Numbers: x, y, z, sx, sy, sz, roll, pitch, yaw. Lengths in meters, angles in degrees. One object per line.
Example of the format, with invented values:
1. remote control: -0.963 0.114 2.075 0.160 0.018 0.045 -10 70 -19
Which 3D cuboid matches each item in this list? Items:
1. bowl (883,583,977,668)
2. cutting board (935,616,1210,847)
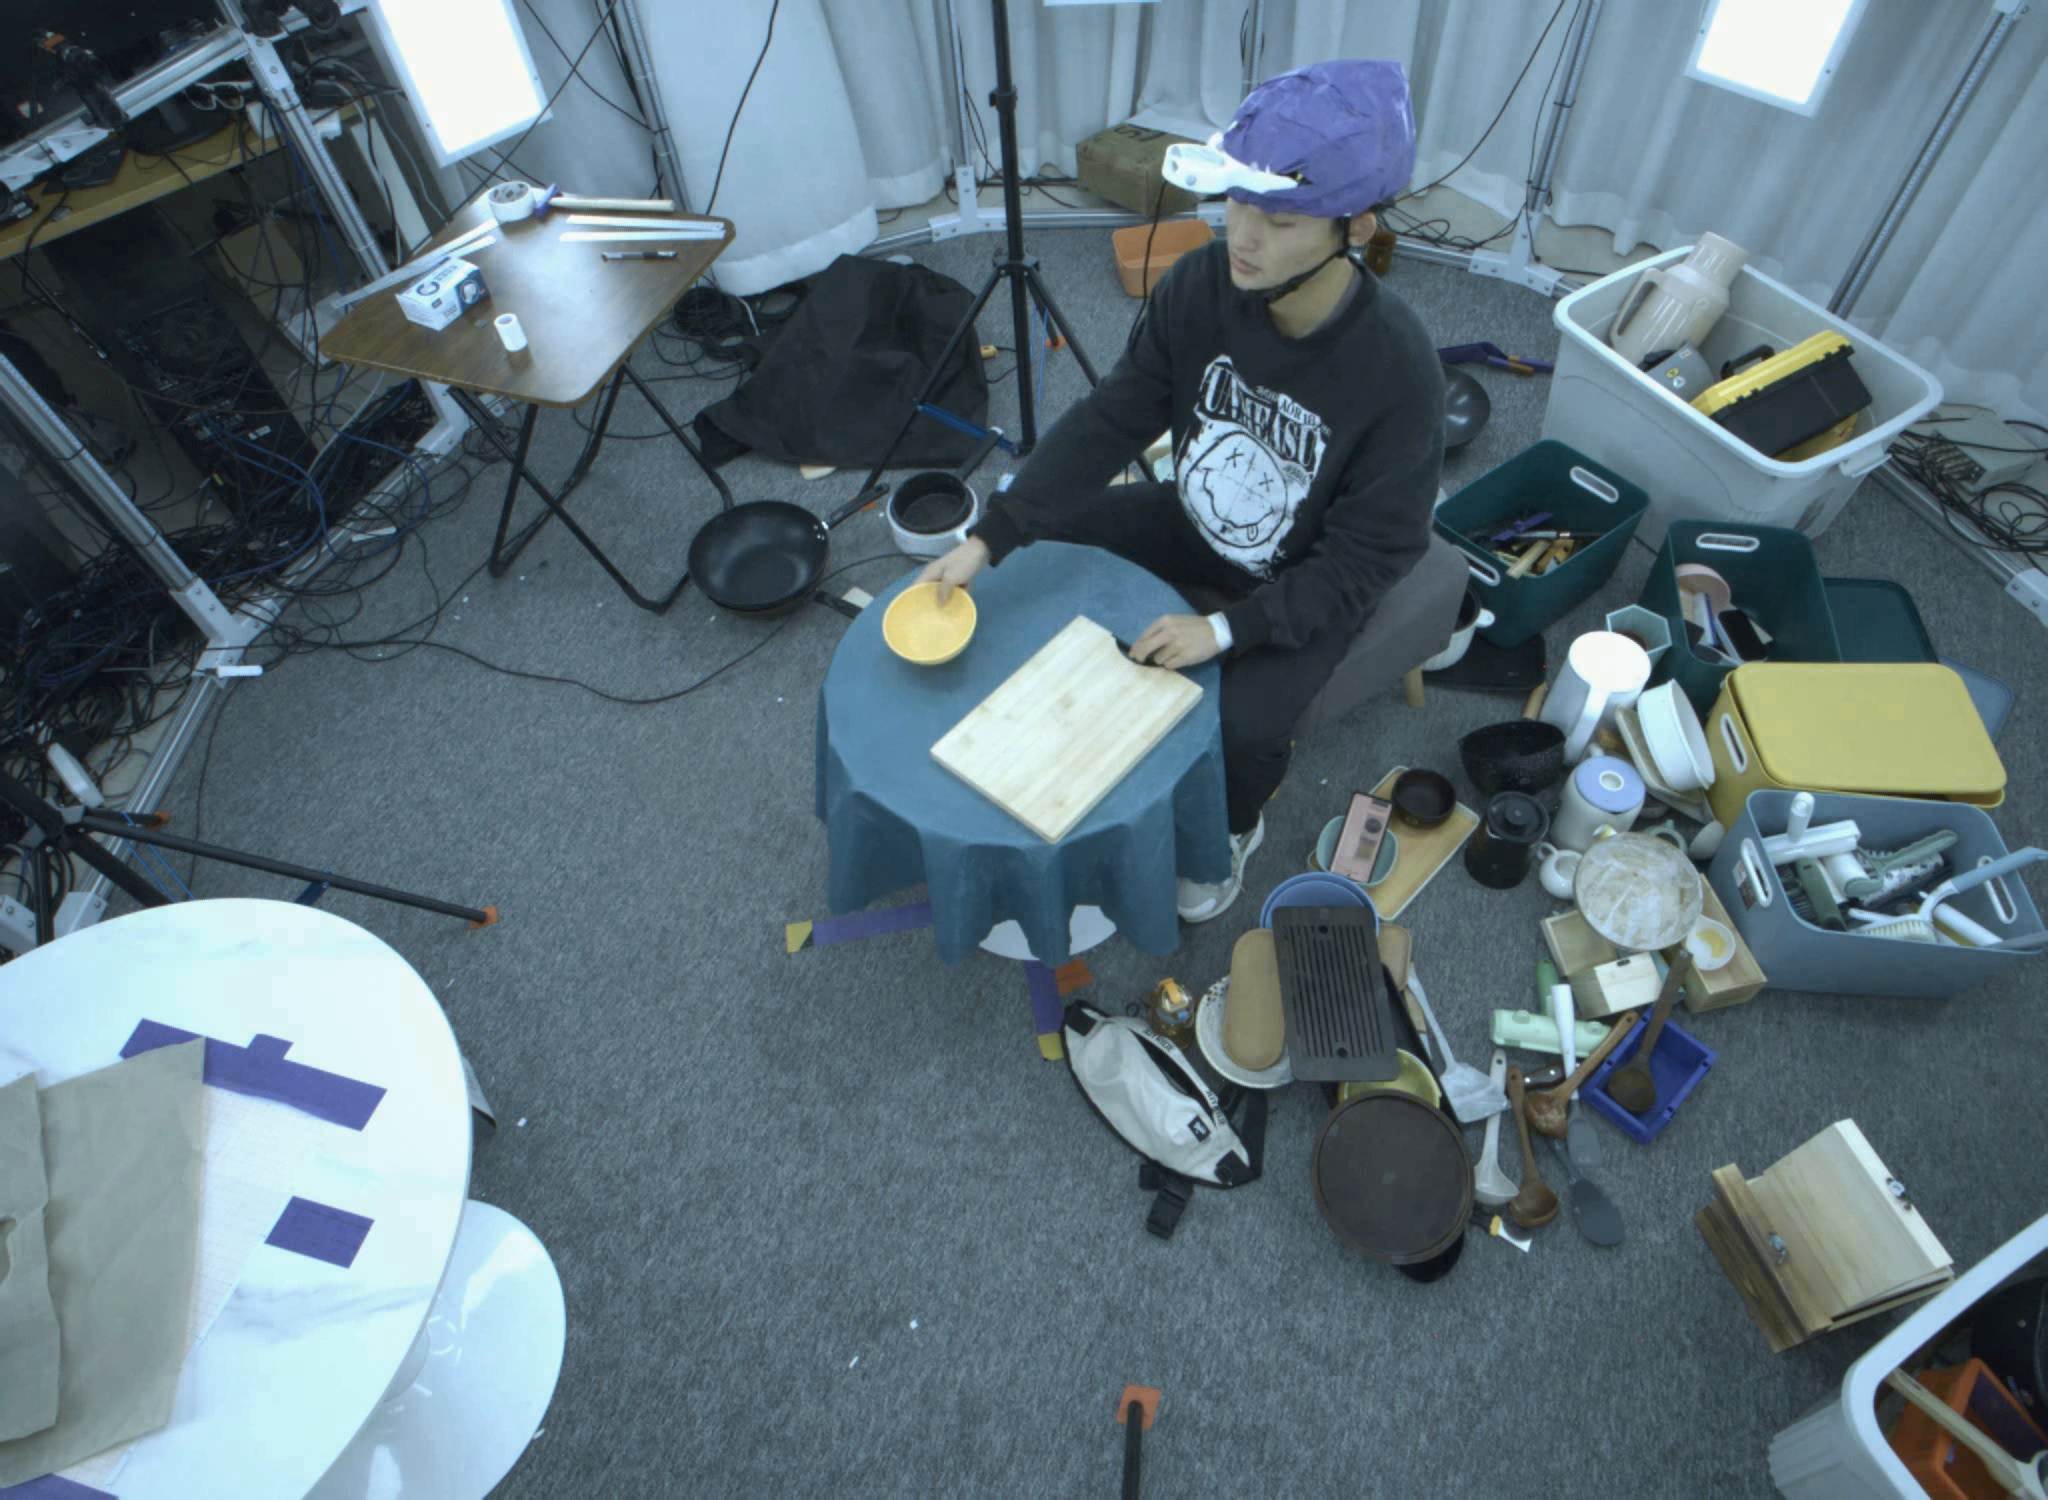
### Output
1. bowl: -0.140 -0.180 1.878 0.145 0.061 0.144 -1 64 4
2. cutting board: 0.072 -0.038 1.813 0.246 0.024 0.351 34 63 23
